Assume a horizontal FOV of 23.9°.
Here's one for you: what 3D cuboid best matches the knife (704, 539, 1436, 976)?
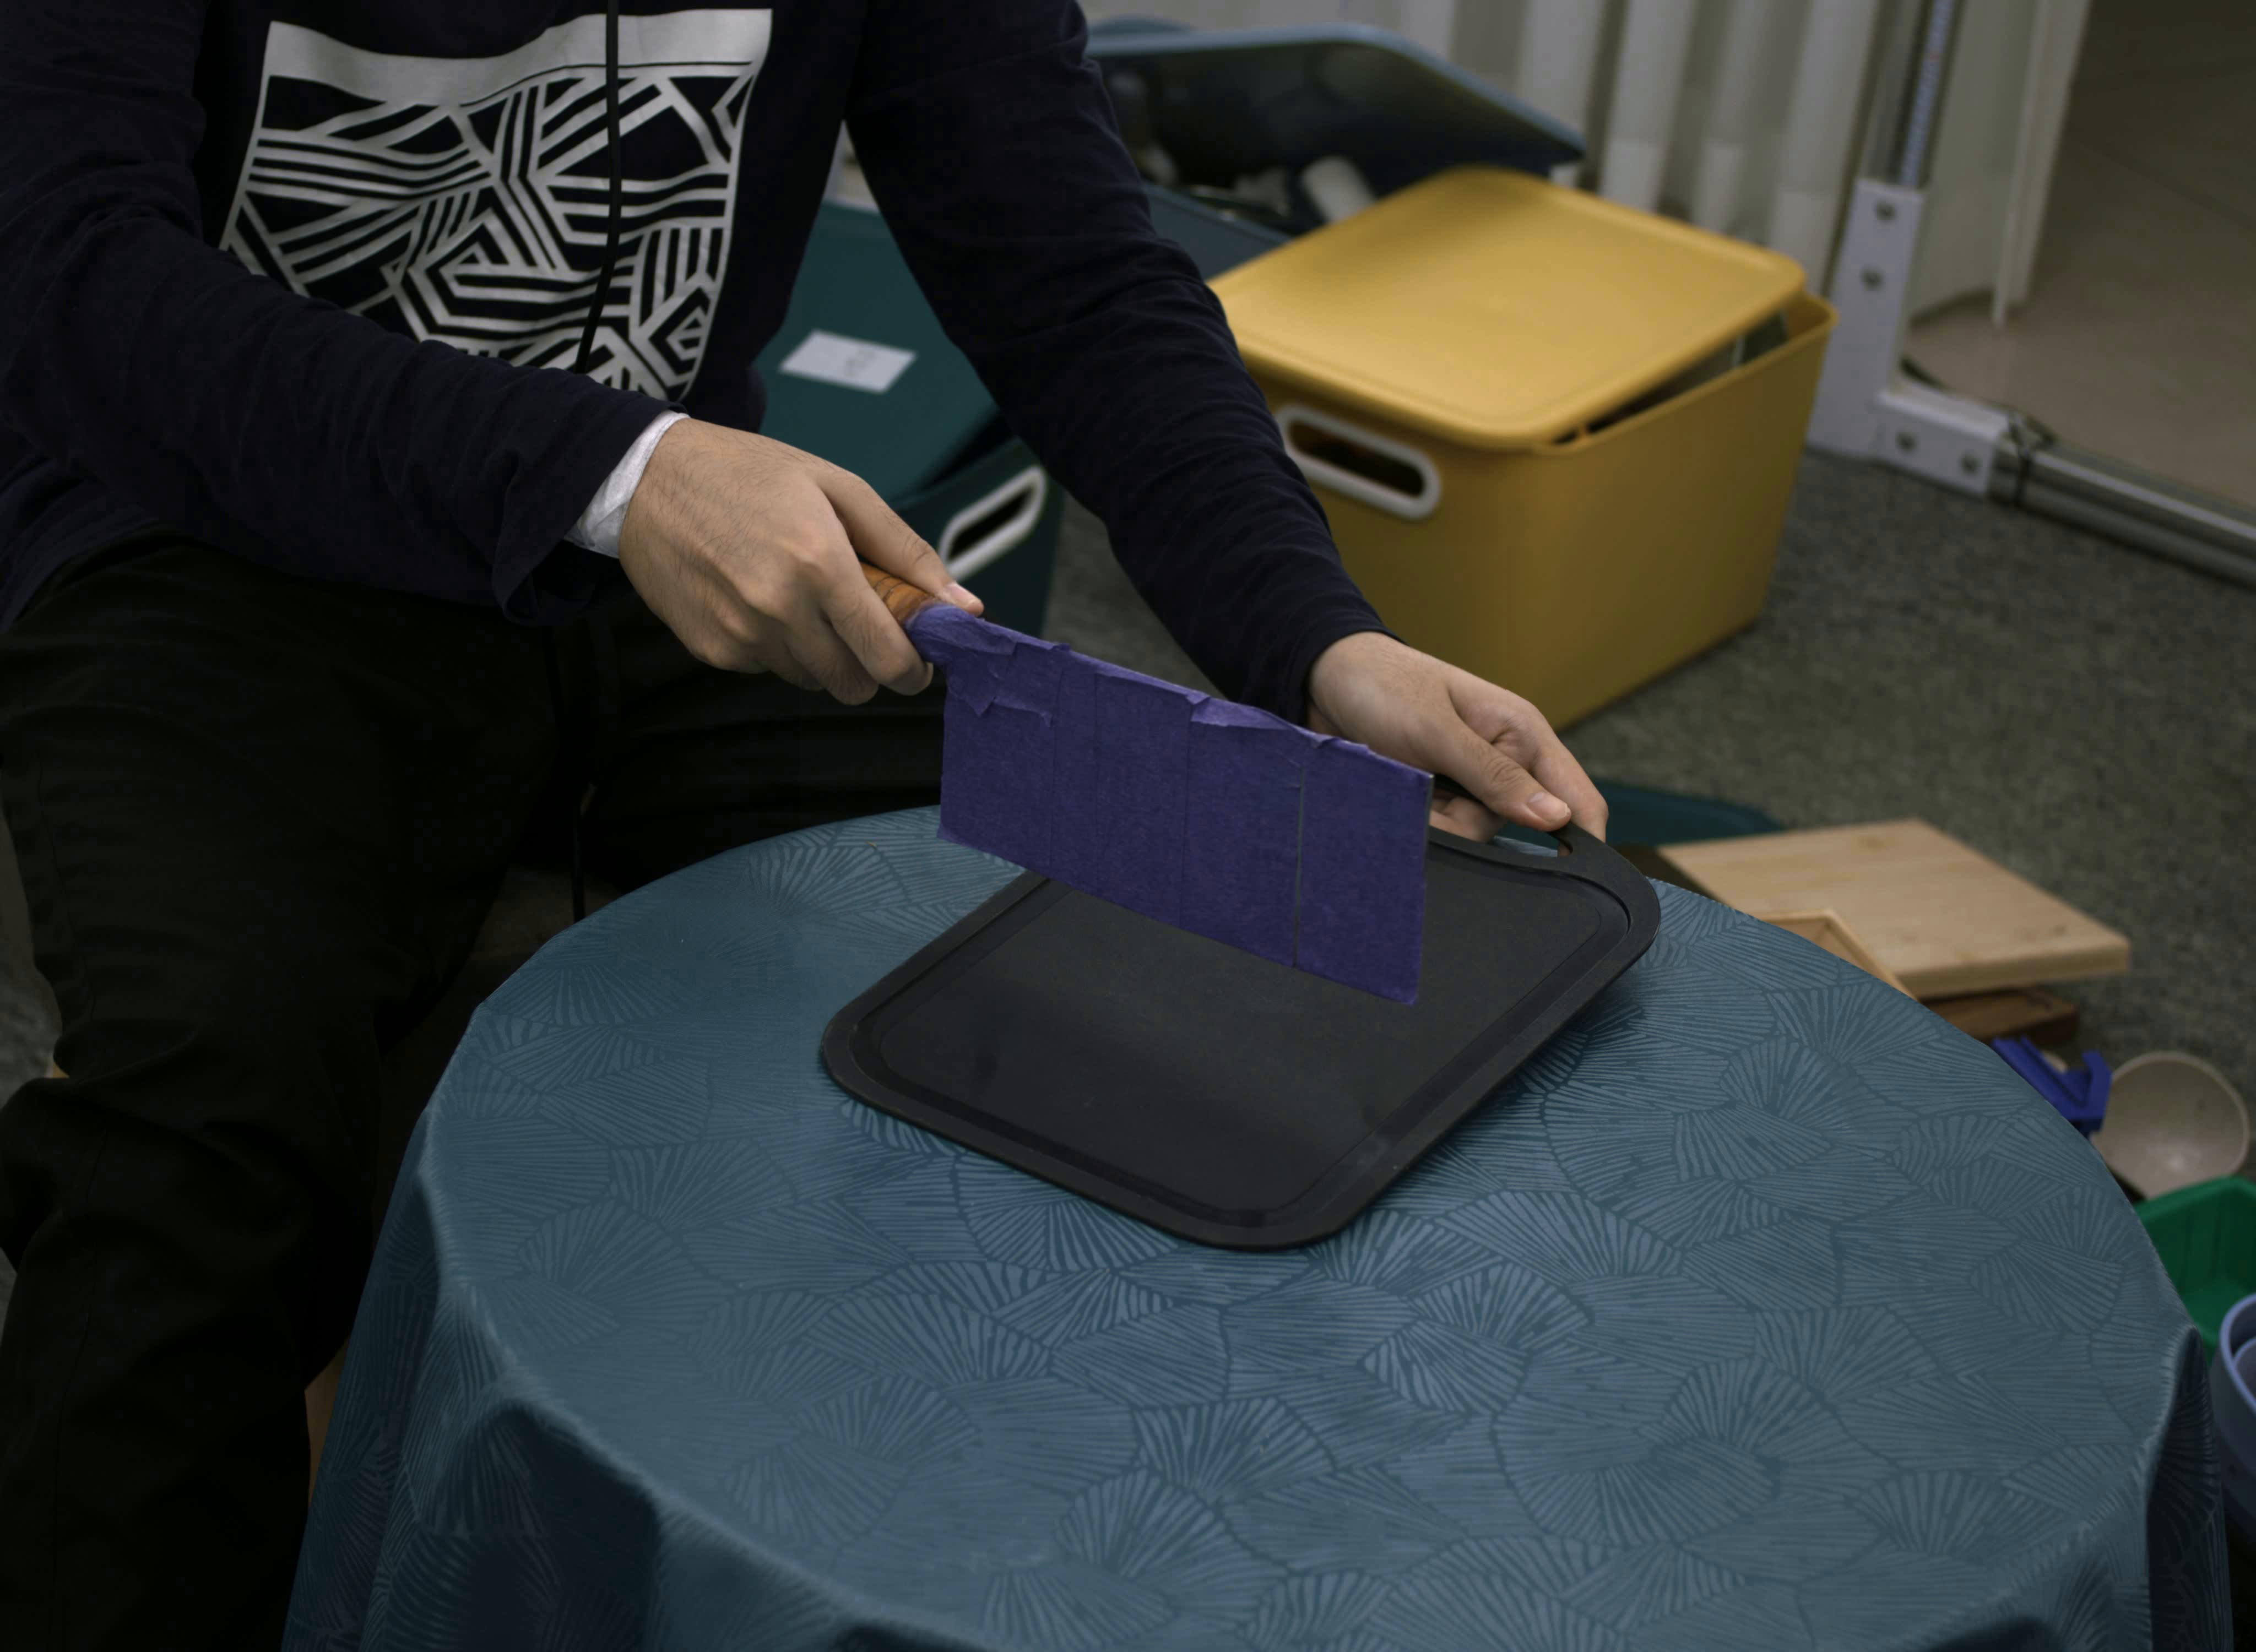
[{"bbox_3d":[-0.025,-0.022,1.887,0.317,0.103,0.032,19,26,33],"label":"knife"}]

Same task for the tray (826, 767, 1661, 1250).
[{"bbox_3d":[0.050,0.050,1.927,0.212,0.010,0.325,21,35,27],"label":"tray"}]
